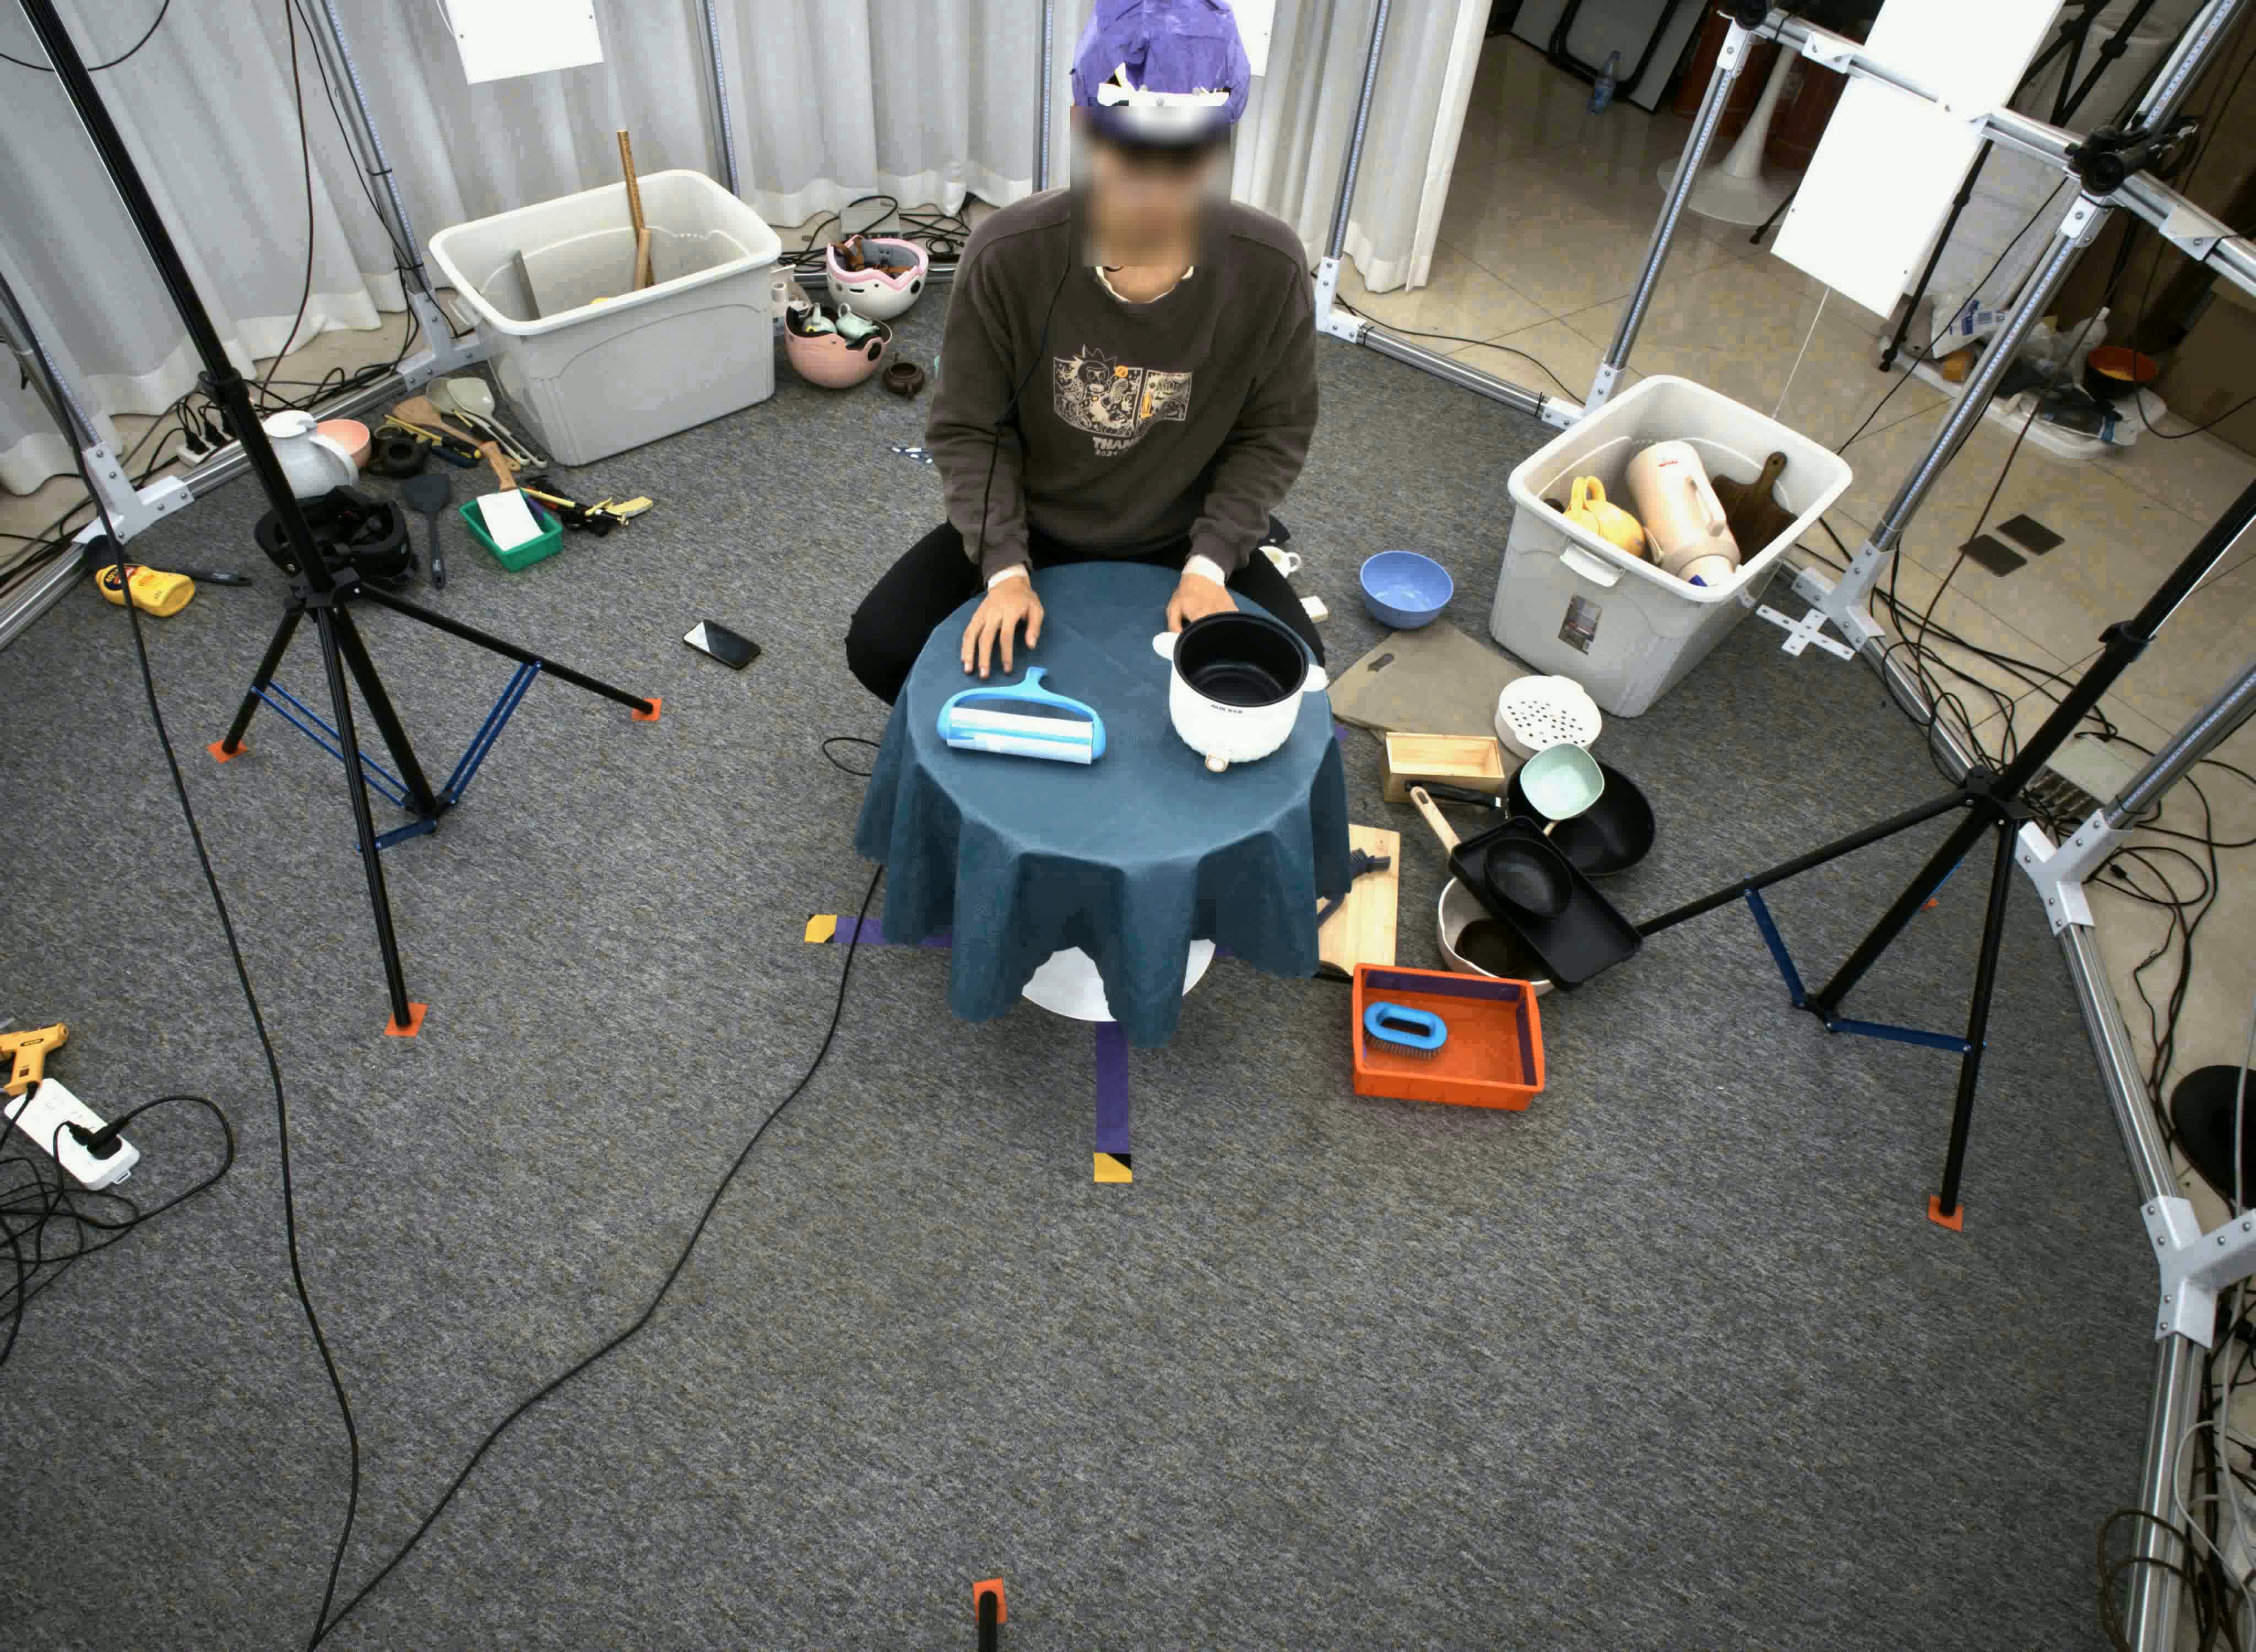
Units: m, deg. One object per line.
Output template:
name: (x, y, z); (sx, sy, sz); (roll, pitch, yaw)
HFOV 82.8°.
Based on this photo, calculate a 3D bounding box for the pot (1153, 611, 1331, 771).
pot: (0.147, -0.178, 1.739); (0.241, 0.139, 0.194); (12, 46, 9)

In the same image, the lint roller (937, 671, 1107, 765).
lint roller: (-0.138, -0.168, 1.766); (0.229, 0.066, 0.184); (4, 49, 2)
